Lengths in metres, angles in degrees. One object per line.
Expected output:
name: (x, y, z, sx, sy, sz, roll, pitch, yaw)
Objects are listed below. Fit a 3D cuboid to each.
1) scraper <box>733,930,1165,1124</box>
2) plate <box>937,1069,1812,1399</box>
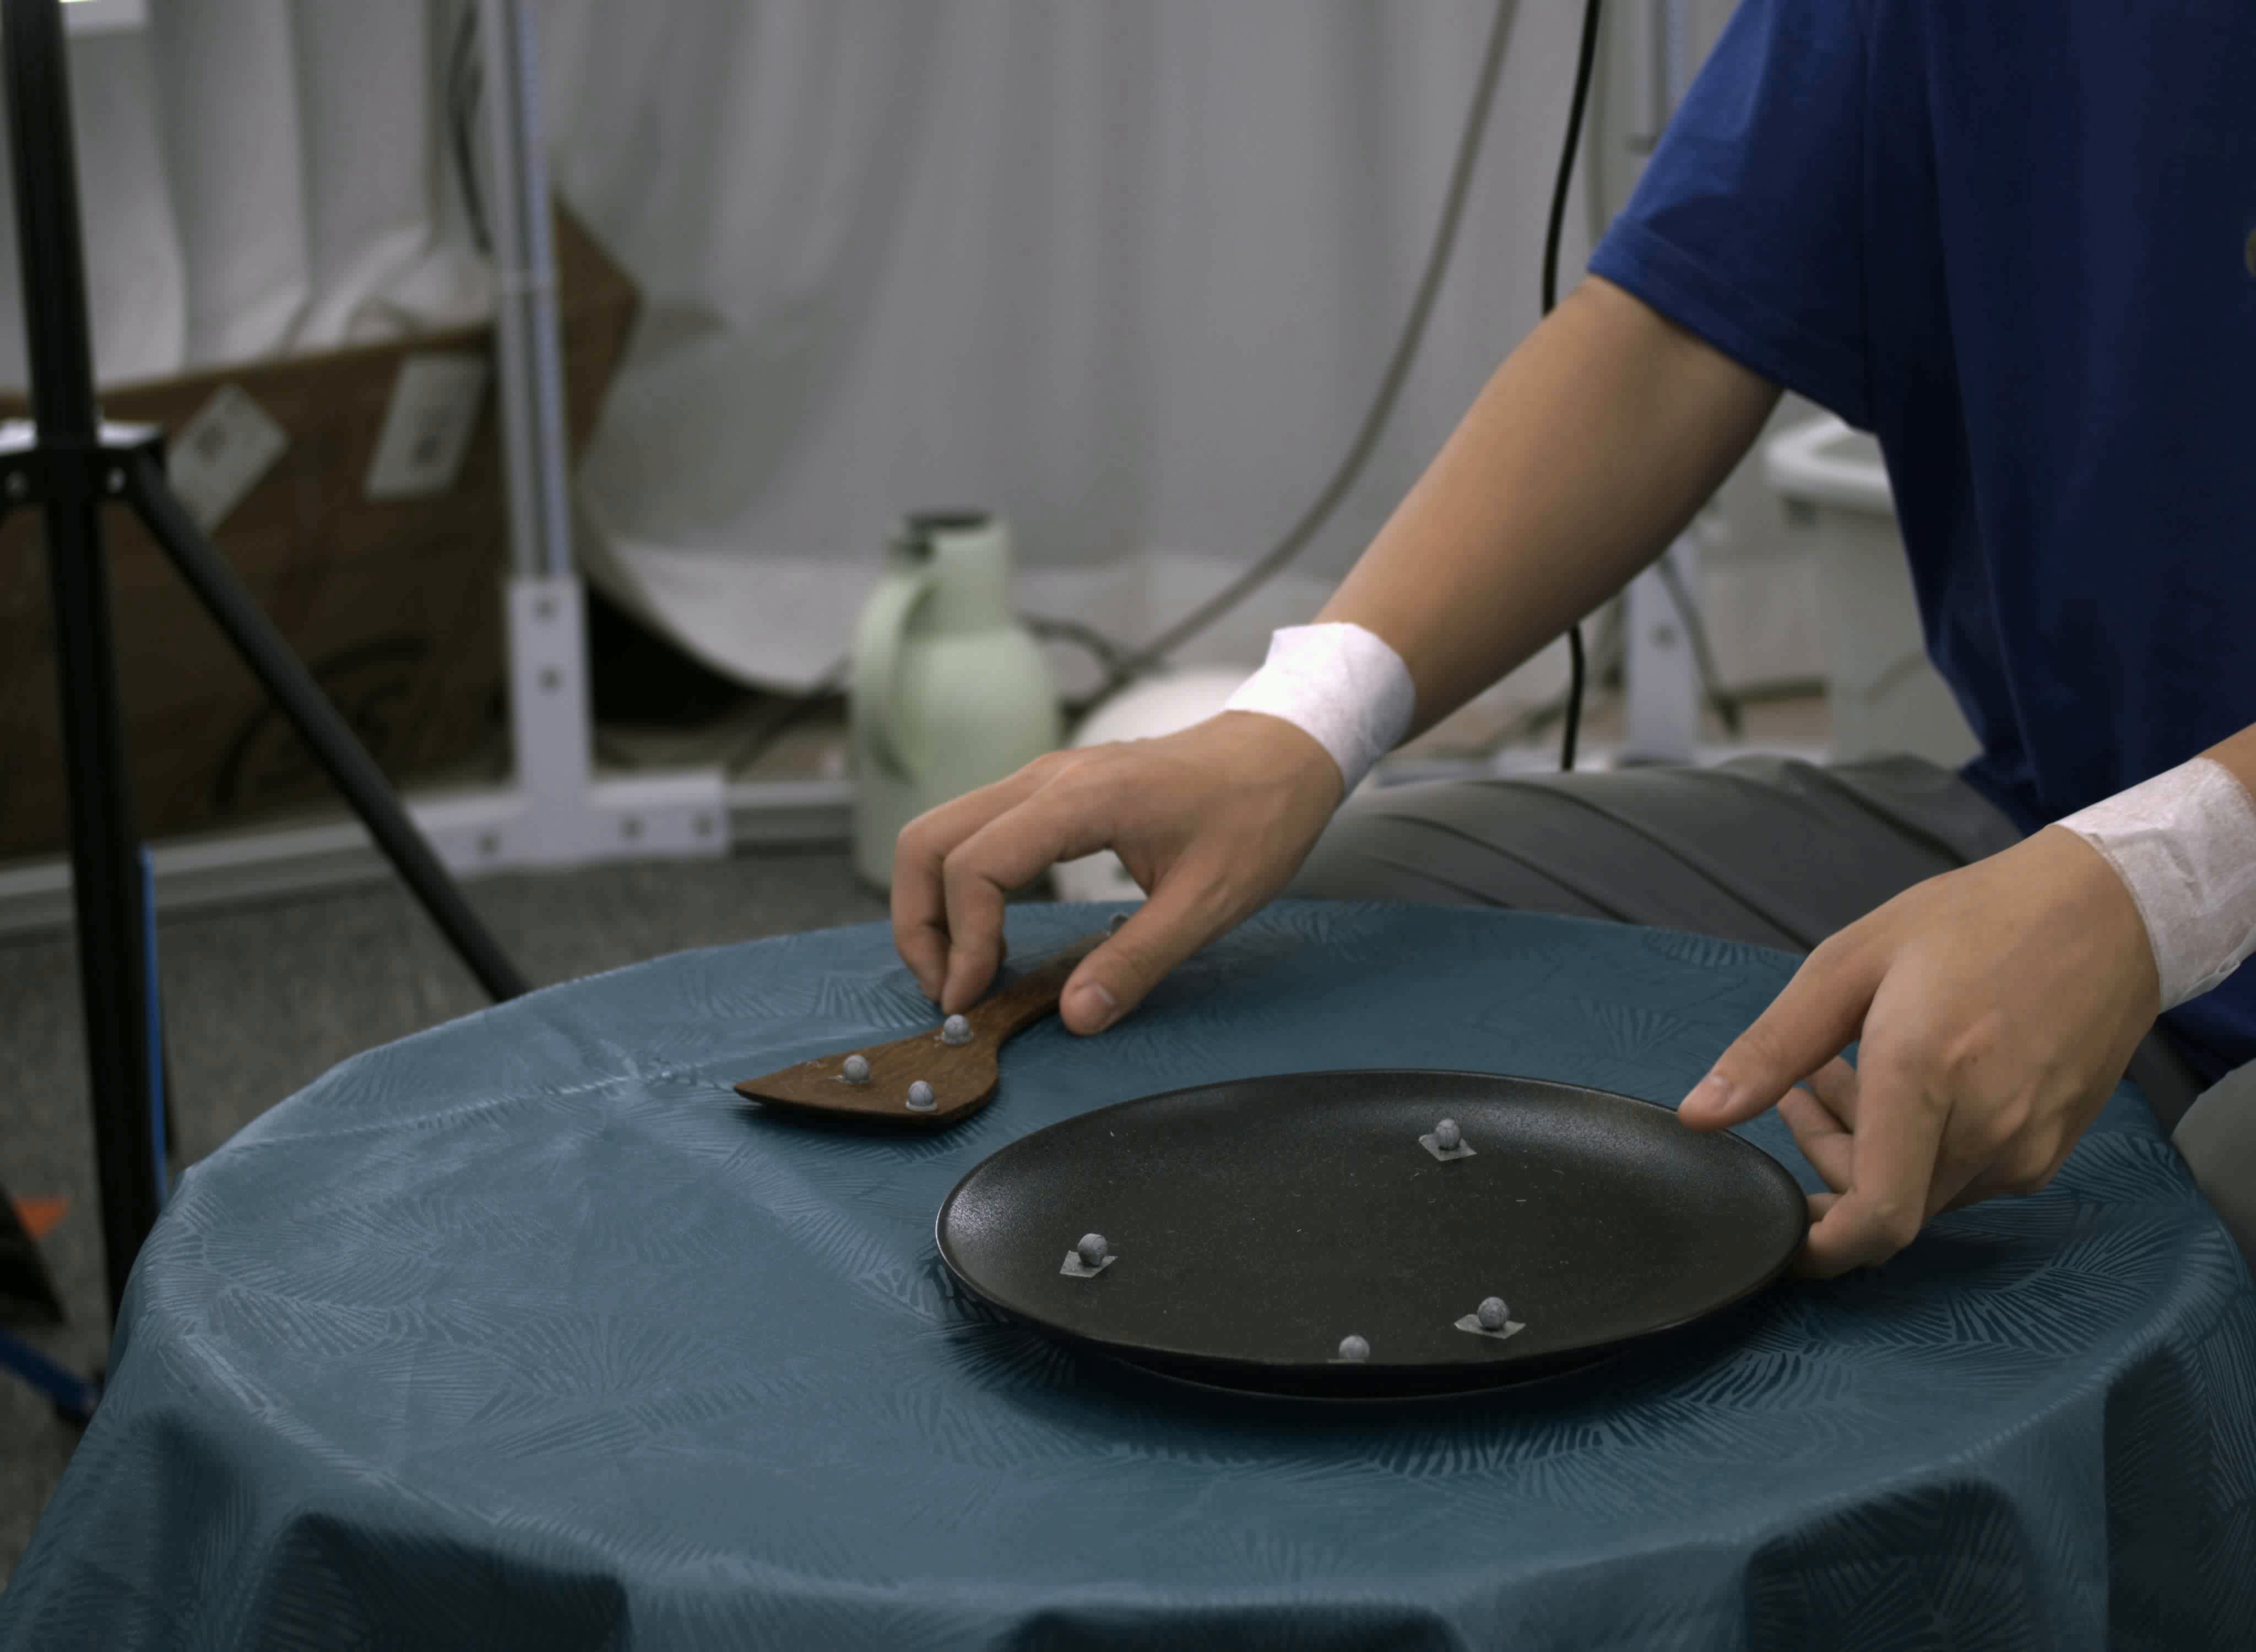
scraper: (-0.045, 0.063, 1.707, 0.077, 0.011, 0.207, 6, 17, 28)
plate: (0.069, 0.116, 1.476, 0.243, 0.023, 0.245, -3, 16, -1)
